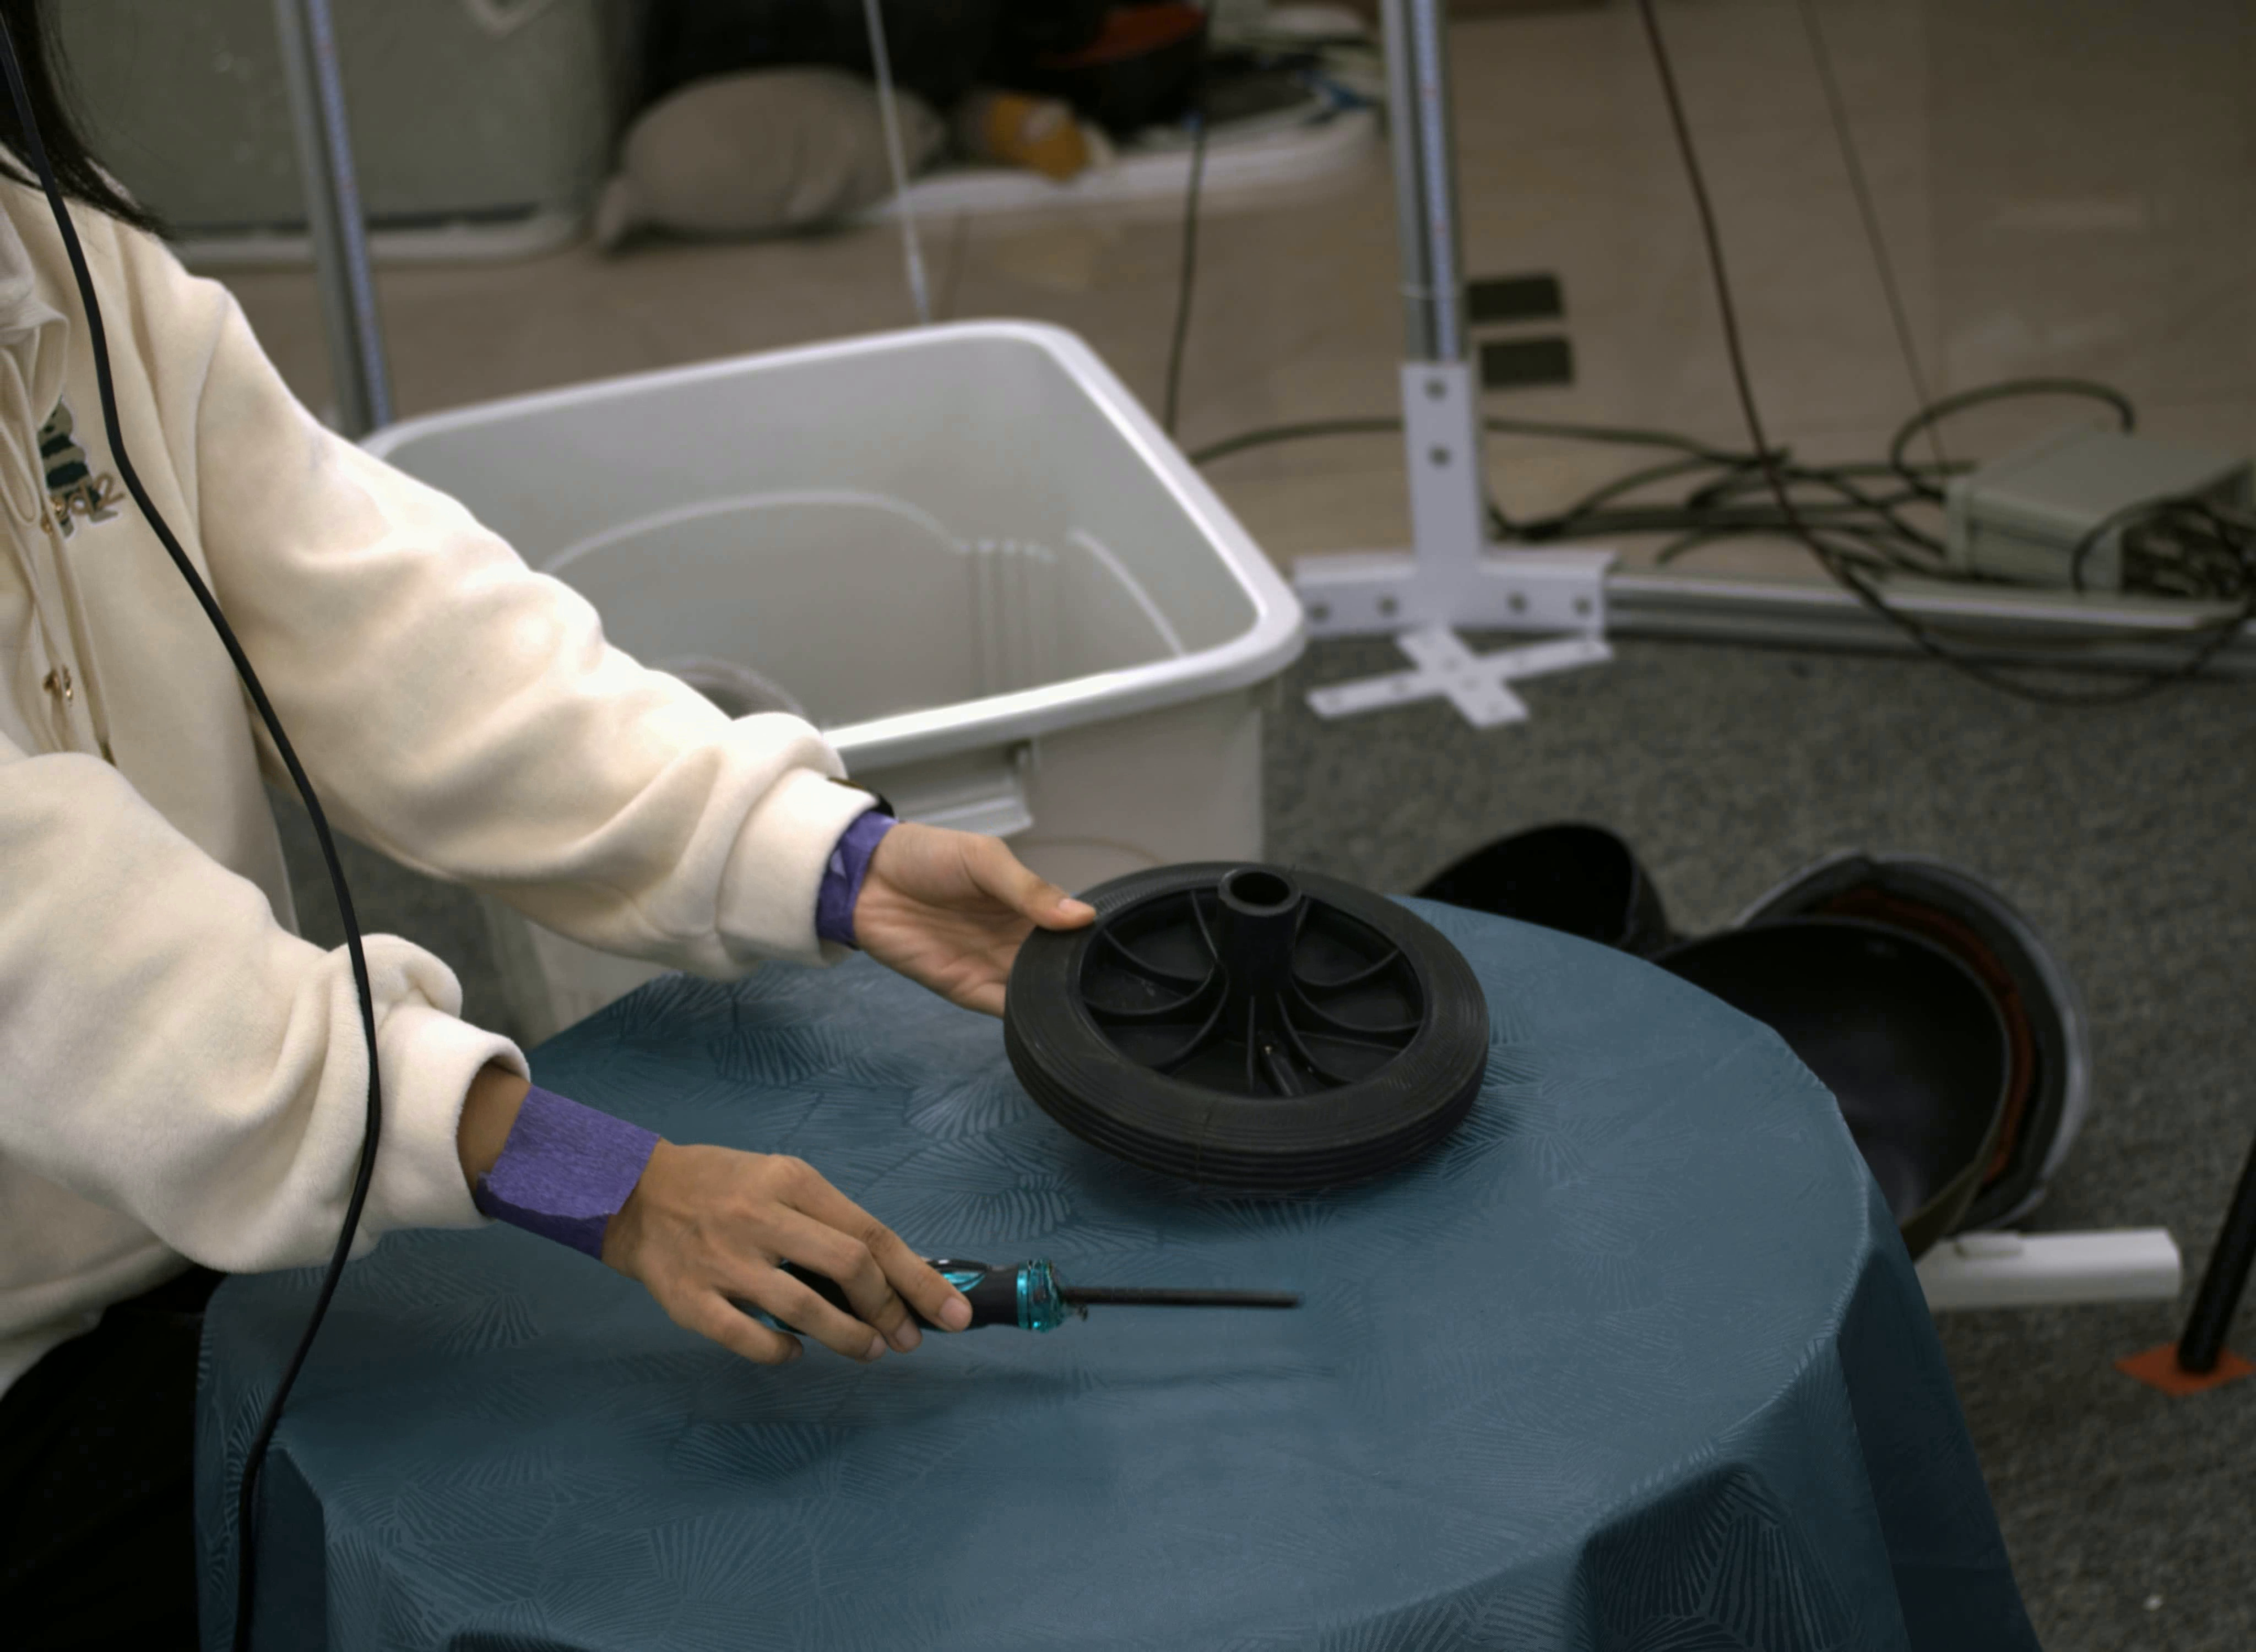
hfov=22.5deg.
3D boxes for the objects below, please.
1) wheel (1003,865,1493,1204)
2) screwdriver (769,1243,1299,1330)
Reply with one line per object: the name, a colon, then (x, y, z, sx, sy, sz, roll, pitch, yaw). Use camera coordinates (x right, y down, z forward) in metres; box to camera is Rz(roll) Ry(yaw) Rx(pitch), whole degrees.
wheel: (0.048, 0.061, 2.174, 0.186, 0.080, 0.187, -25, 48, -35)
screwdriver: (-0.034, 0.167, 2.024, 0.189, 0.034, 0.033, 2, 26, 4)
